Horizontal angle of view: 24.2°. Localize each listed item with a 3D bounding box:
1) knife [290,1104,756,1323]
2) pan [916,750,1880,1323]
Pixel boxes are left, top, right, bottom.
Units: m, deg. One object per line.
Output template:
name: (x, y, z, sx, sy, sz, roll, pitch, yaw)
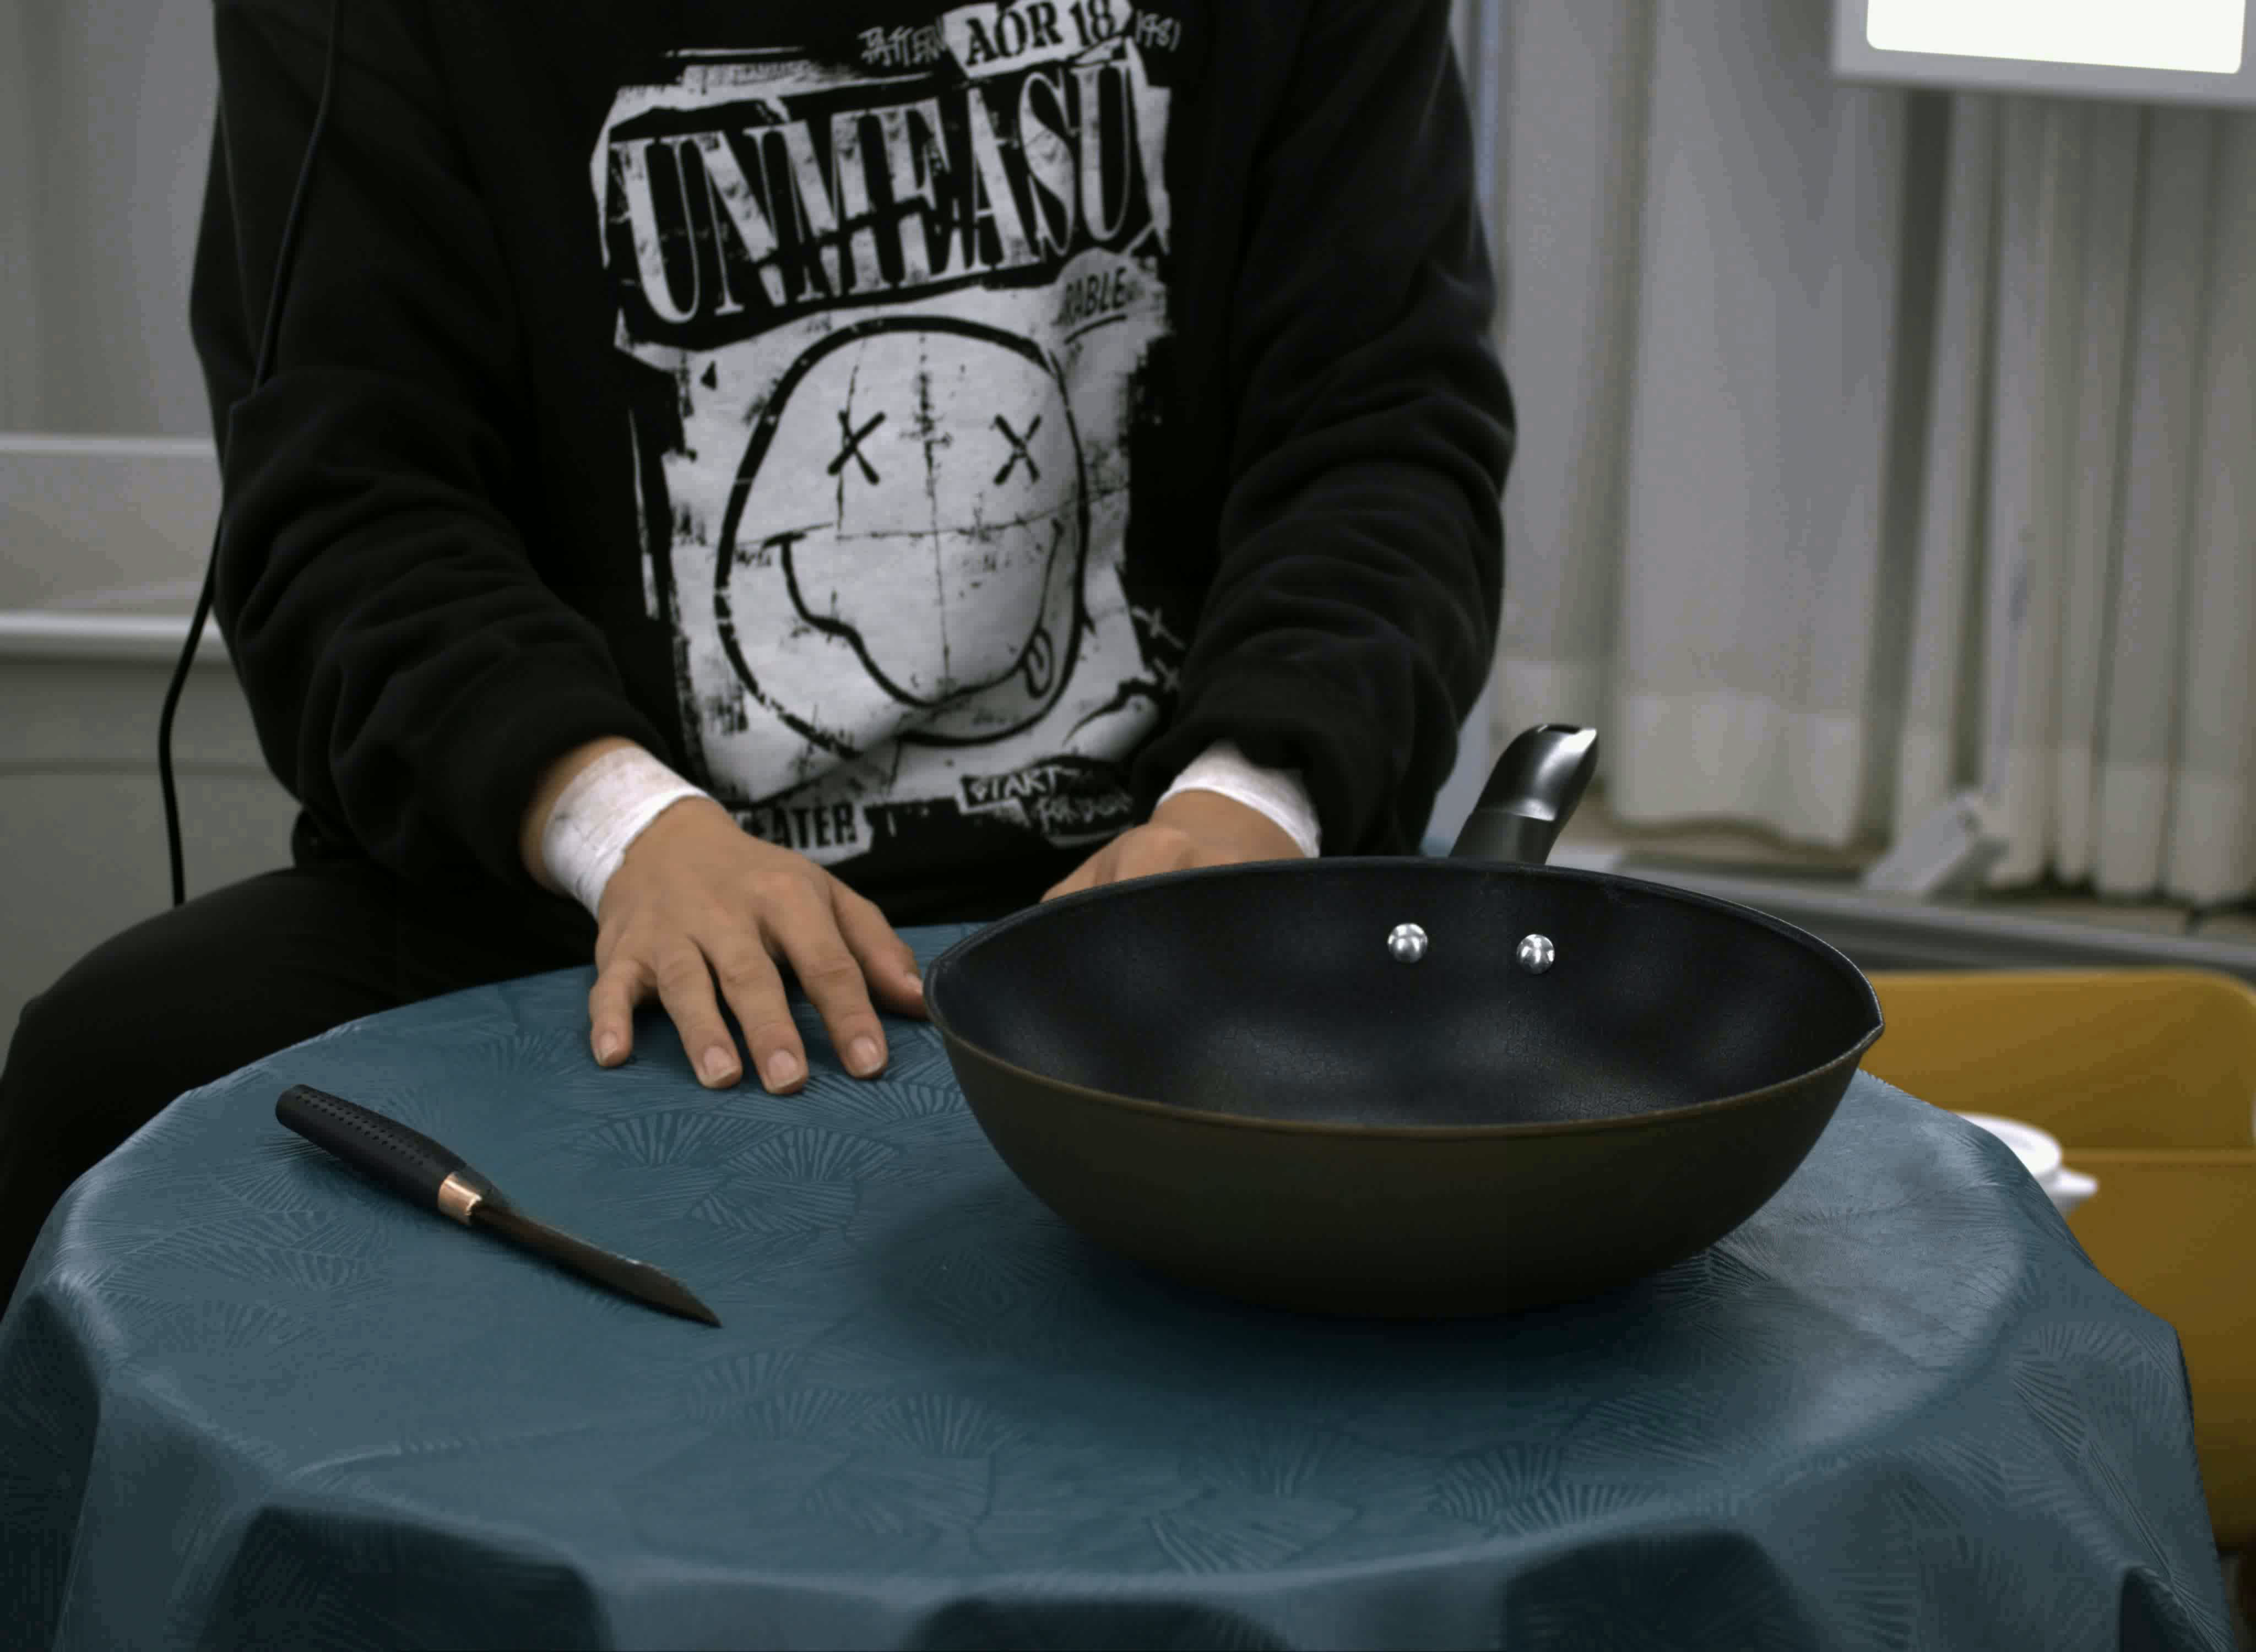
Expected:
knife: (-0.186, 0.117, 1.584, 0.026, 0.017, 0.222, 4, 10, -43)
pan: (0.100, 0.063, 1.655, 0.286, 0.087, 0.463, 4, 15, 13)
